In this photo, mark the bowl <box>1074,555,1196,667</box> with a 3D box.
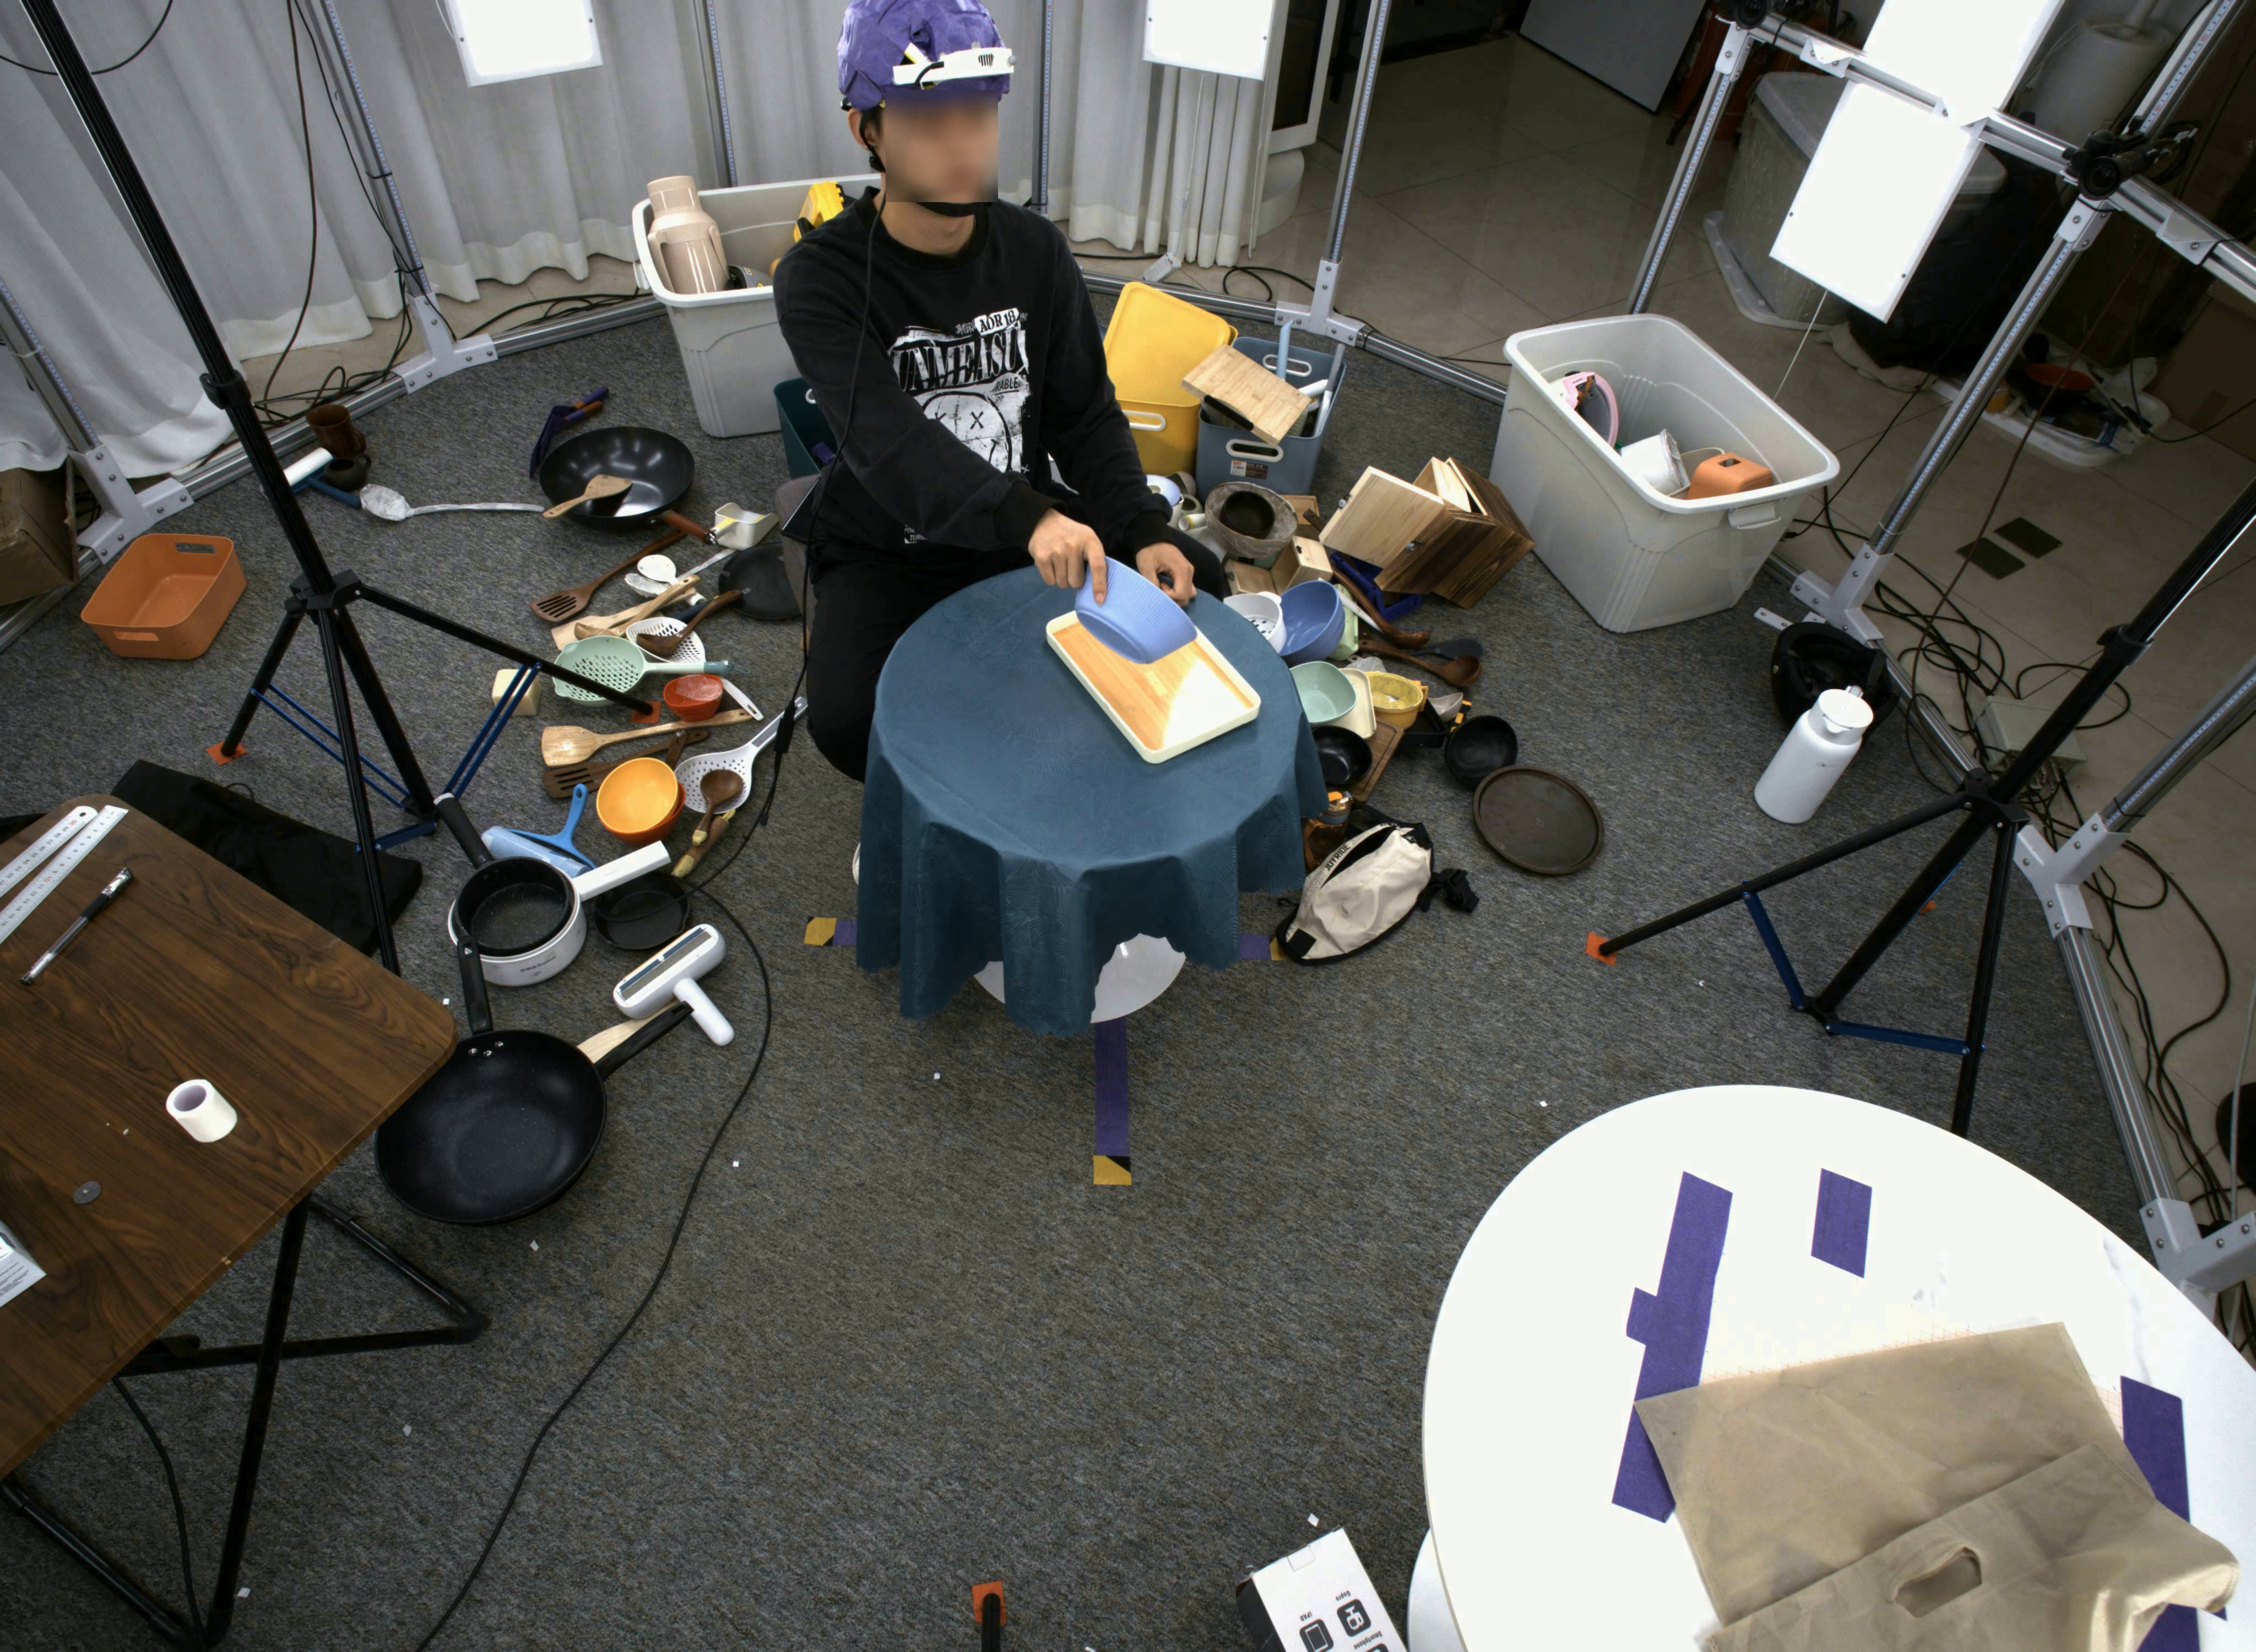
[{"bbox_3d":[-0.003,-0.265,1.646,0.178,0.173,0.070,33,81,22],"label":"bowl"}]

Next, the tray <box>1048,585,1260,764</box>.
[{"bbox_3d":[0.034,-0.225,1.858,0.192,0.027,0.306,-25,55,-19],"label":"tray"}]
